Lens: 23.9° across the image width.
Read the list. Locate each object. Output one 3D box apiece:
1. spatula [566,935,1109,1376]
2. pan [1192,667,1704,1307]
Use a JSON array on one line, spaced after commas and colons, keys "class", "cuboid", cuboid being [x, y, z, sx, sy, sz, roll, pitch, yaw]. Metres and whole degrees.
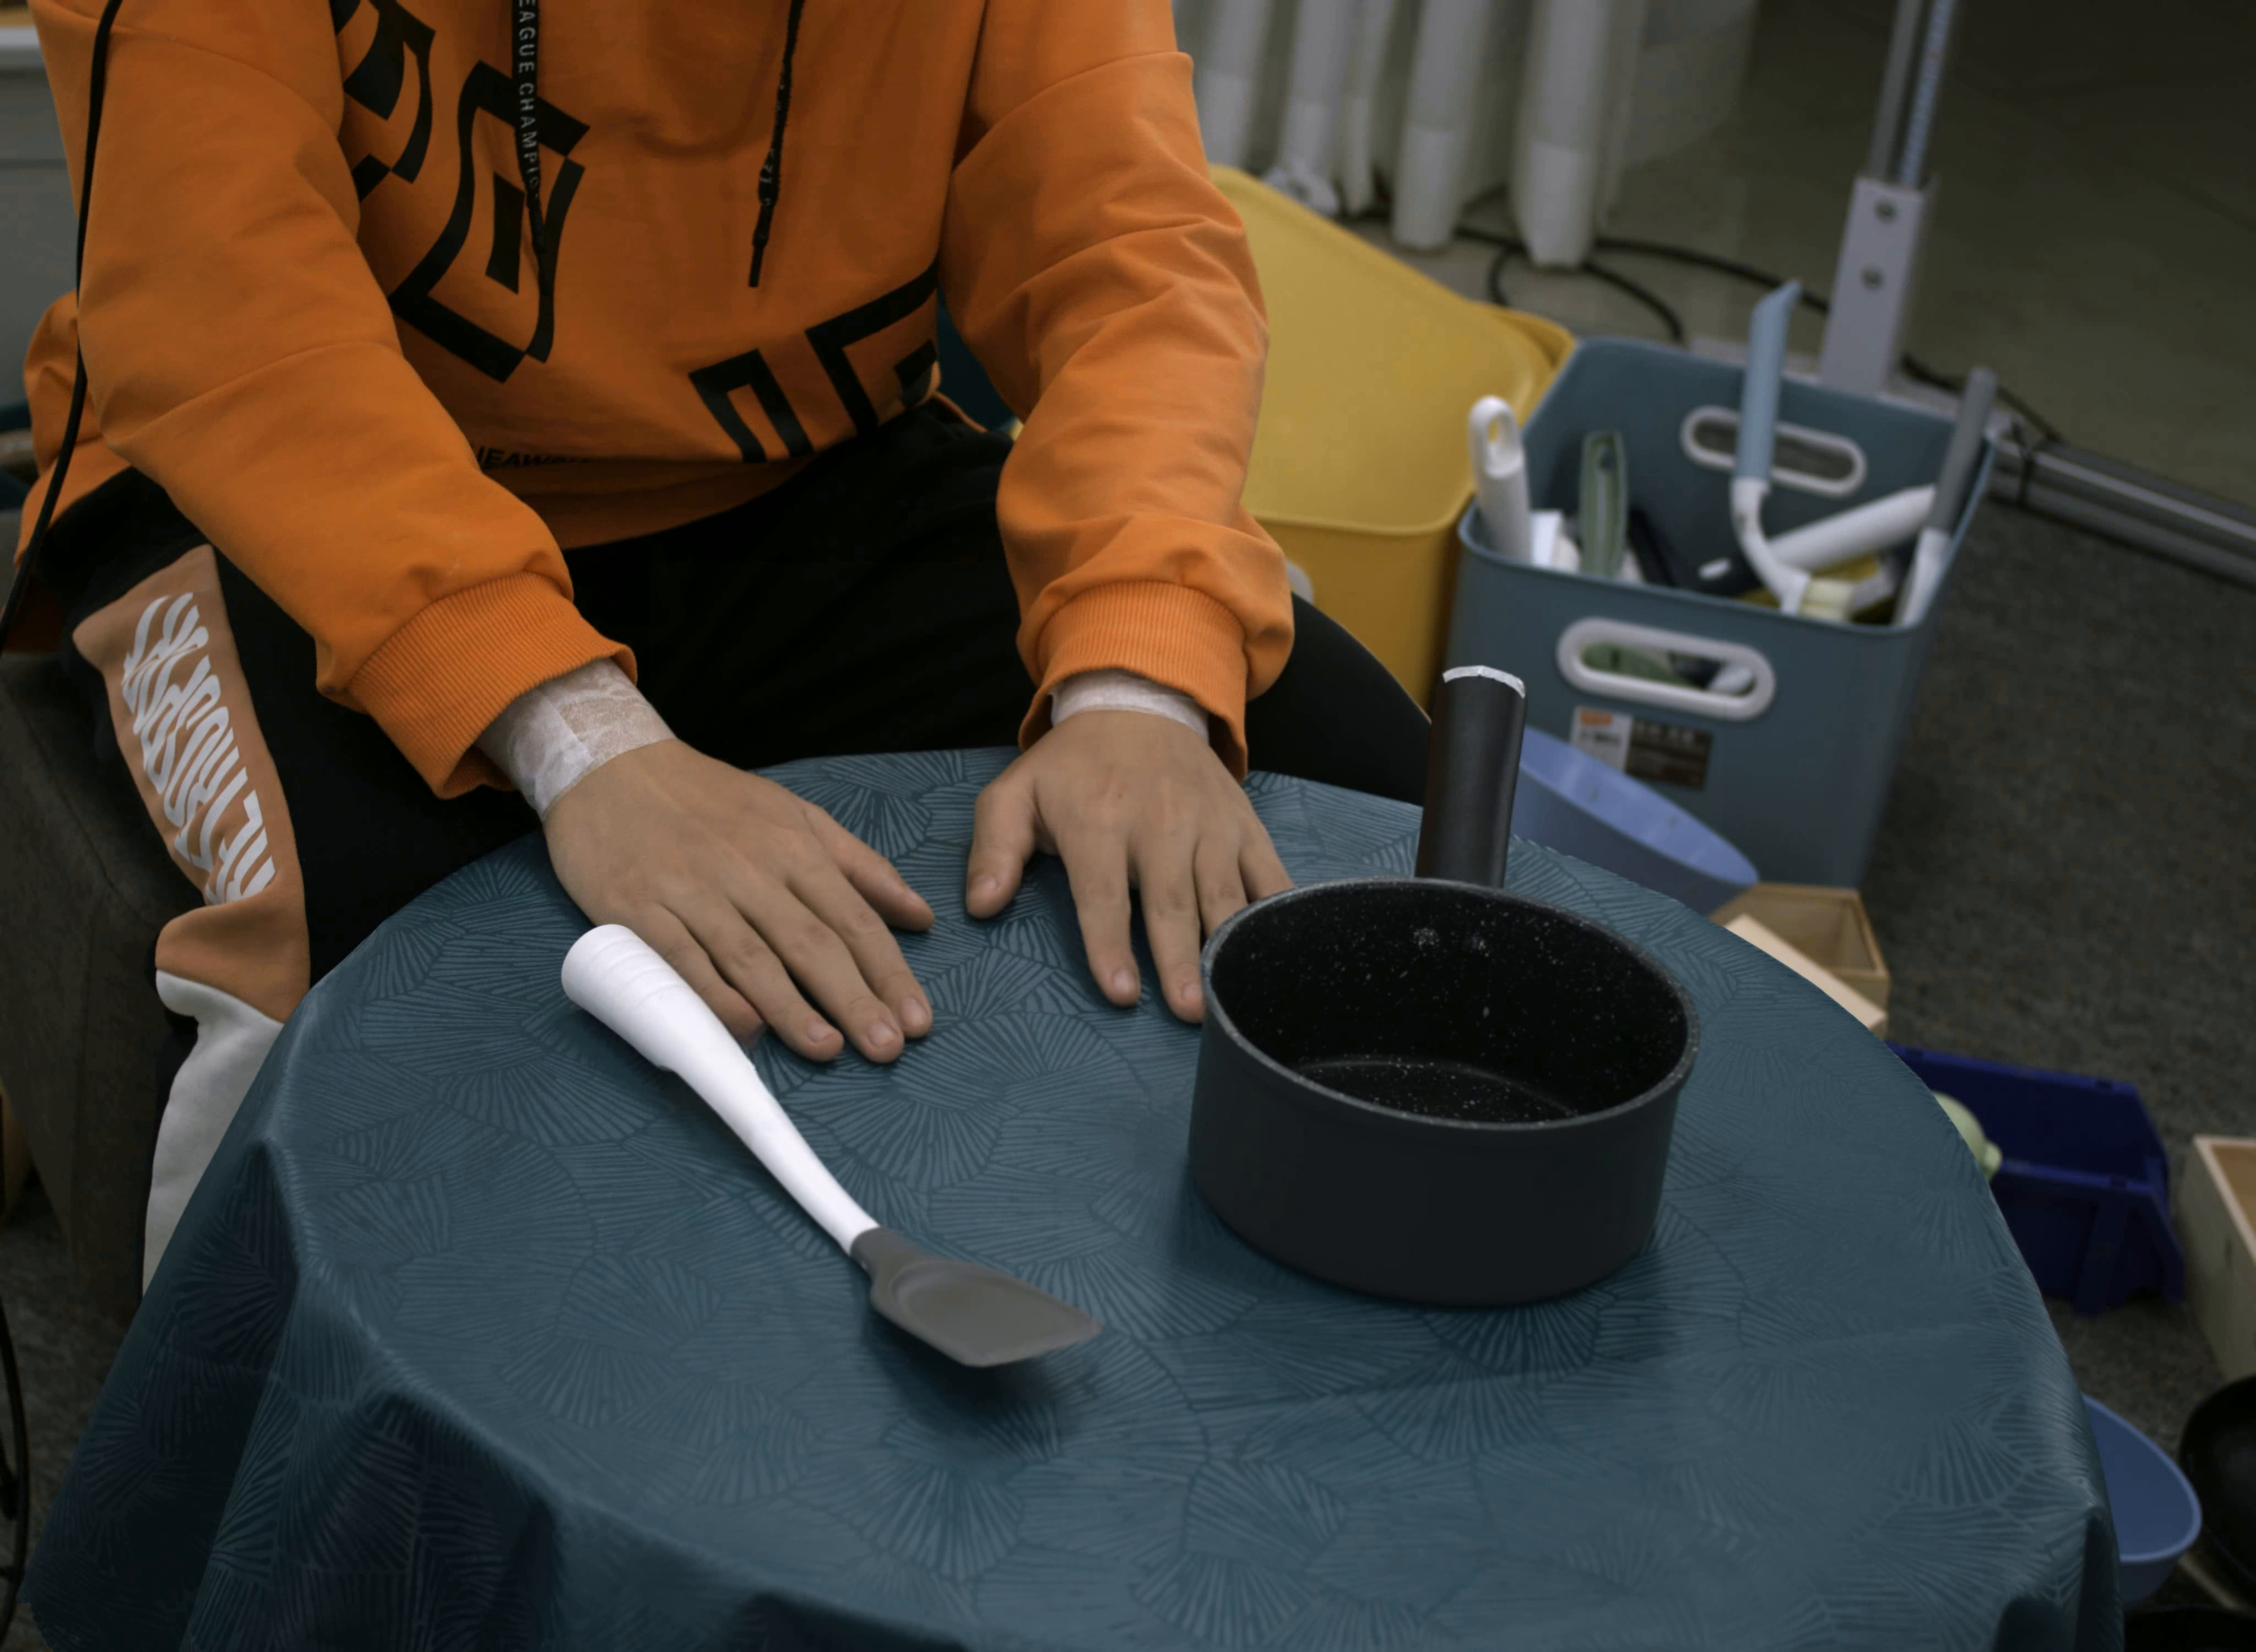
[{"class": "spatula", "cuboid": [-0.104, 0.113, 1.766, 0.058, 0.032, 0.290, -8, 30, -34]}, {"class": "pan", "cuboid": [0.116, 0.052, 1.876, 0.172, 0.086, 0.330, 10, 29, 5]}]
